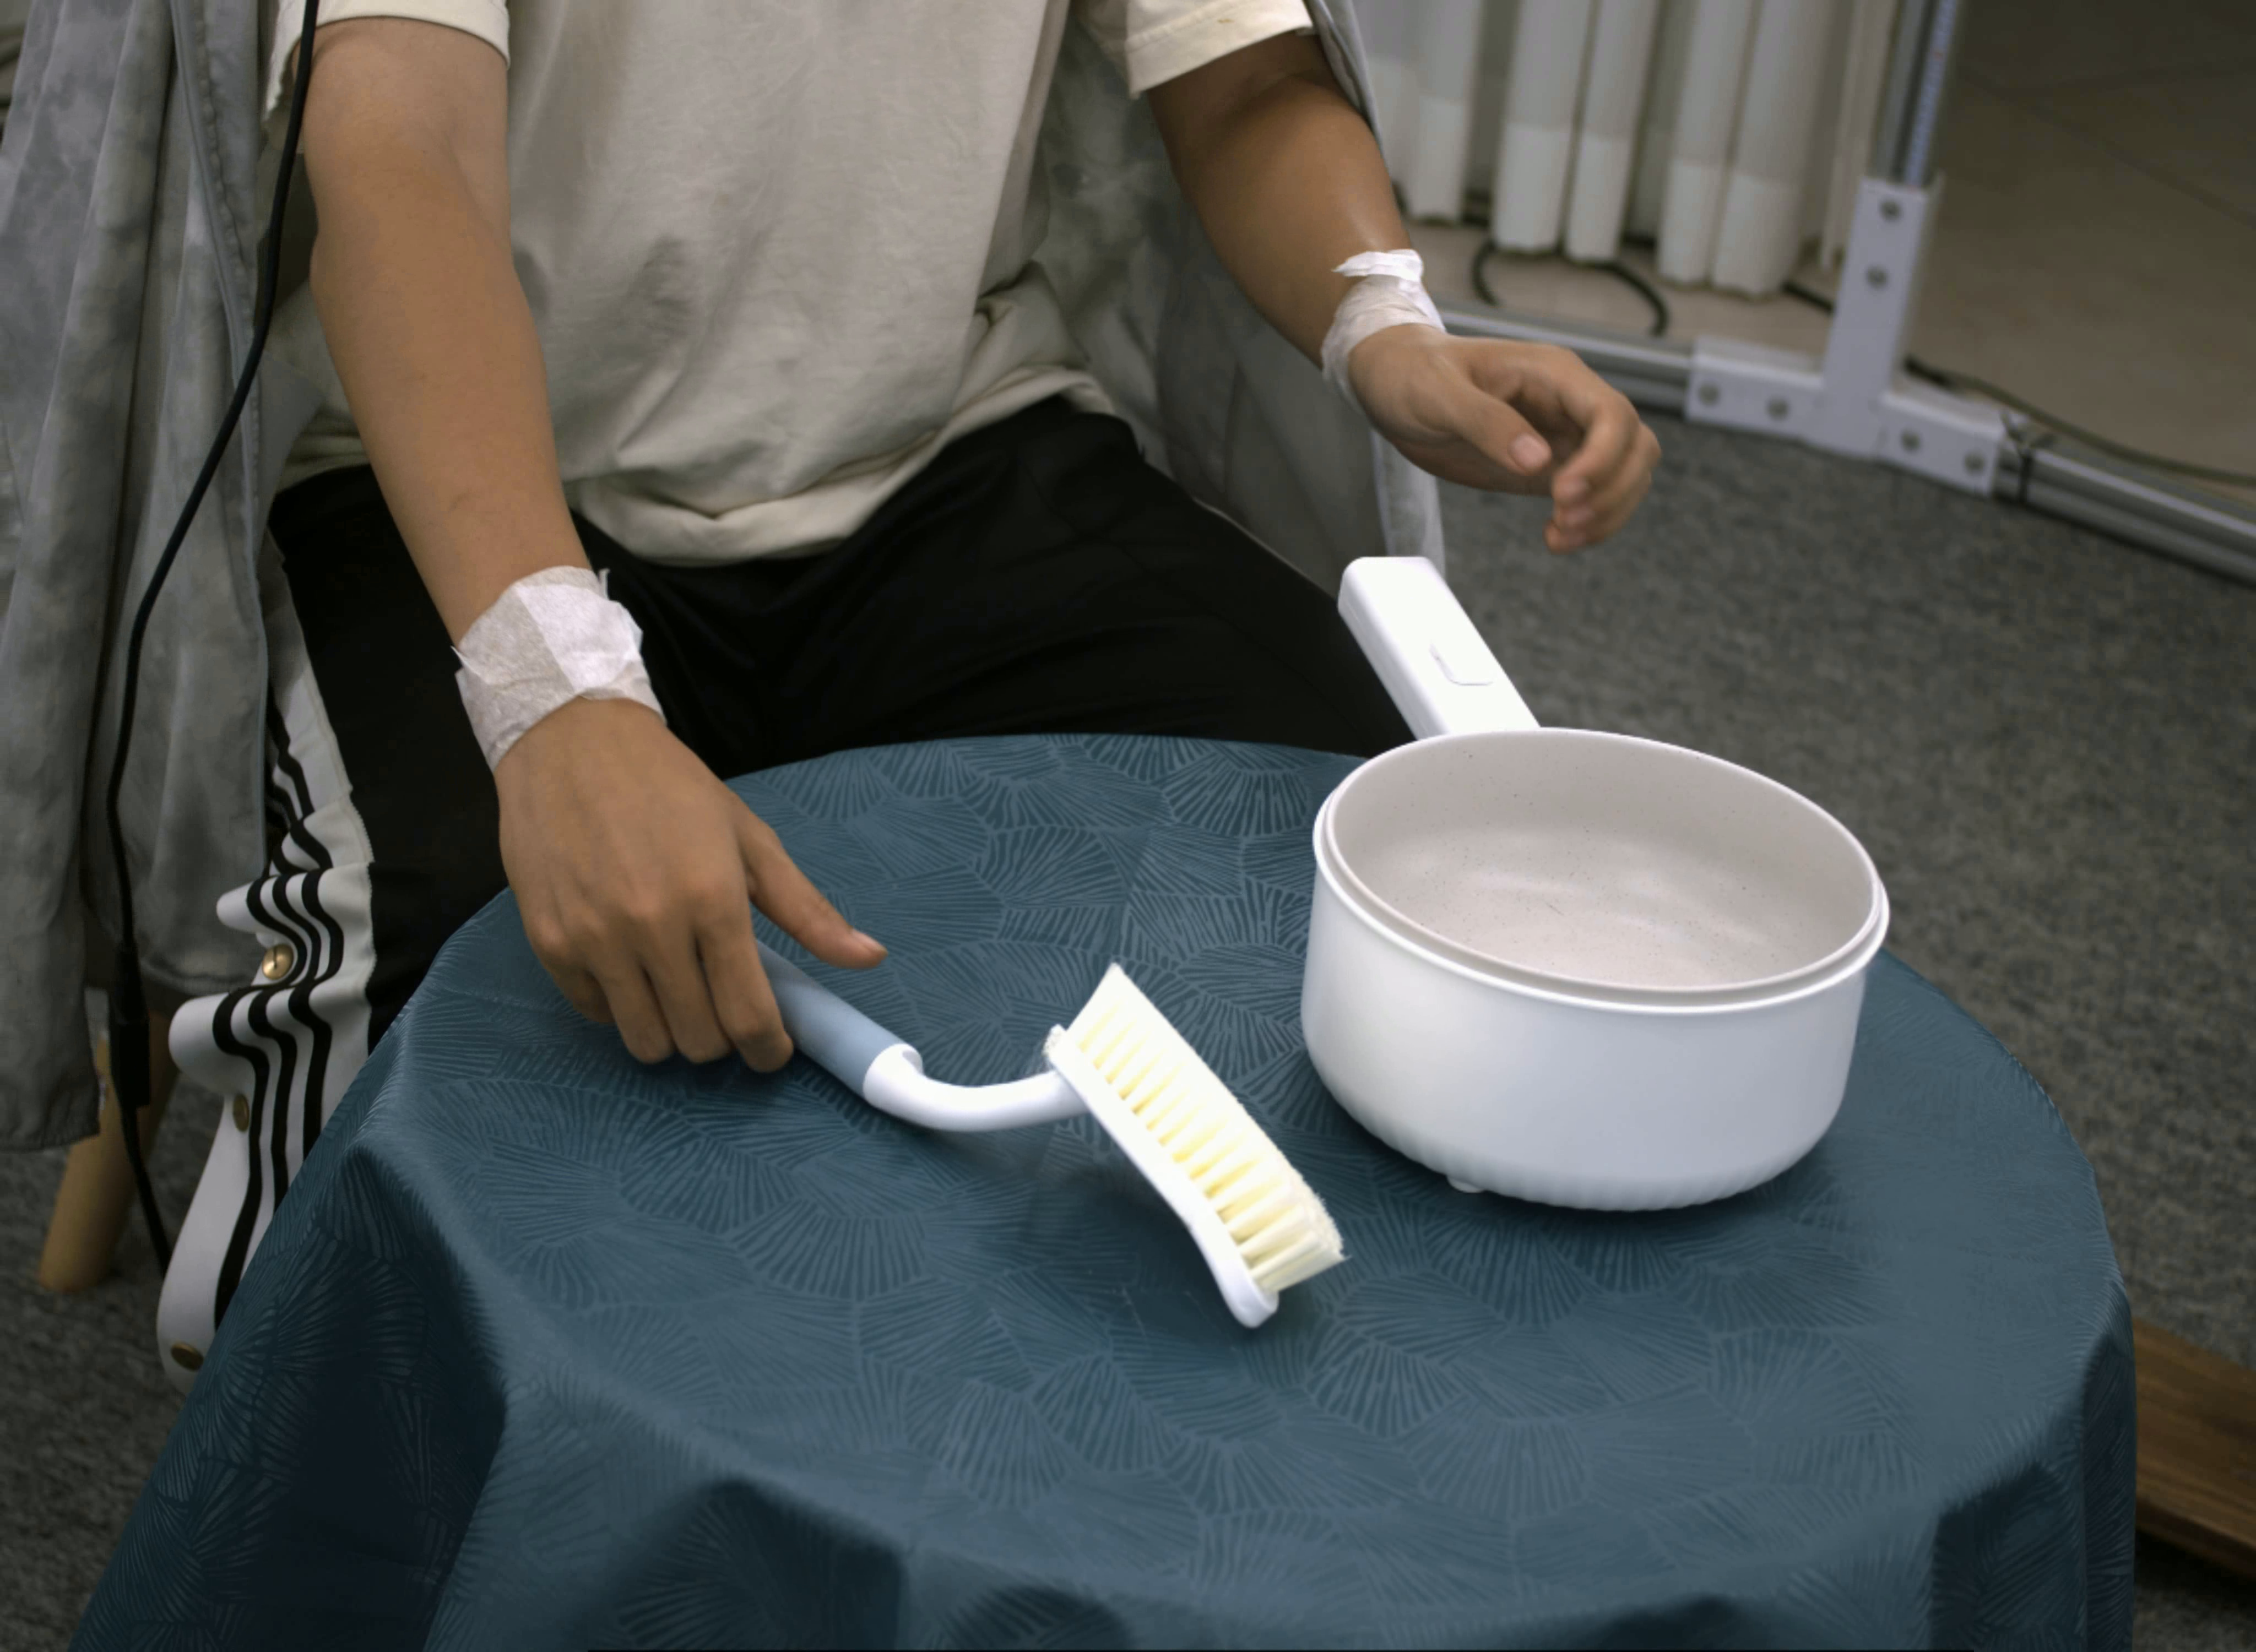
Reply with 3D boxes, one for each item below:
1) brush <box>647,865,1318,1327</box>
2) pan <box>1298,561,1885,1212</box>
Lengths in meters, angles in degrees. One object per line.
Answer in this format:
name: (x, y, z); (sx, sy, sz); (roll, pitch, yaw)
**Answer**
brush: (-0.046, 0.063, 1.824); (0.084, 0.083, 0.328); (-20, 38, -35)
pan: (0.140, 0.019, 1.933); (0.200, 0.102, 0.358); (-2, 27, -15)
